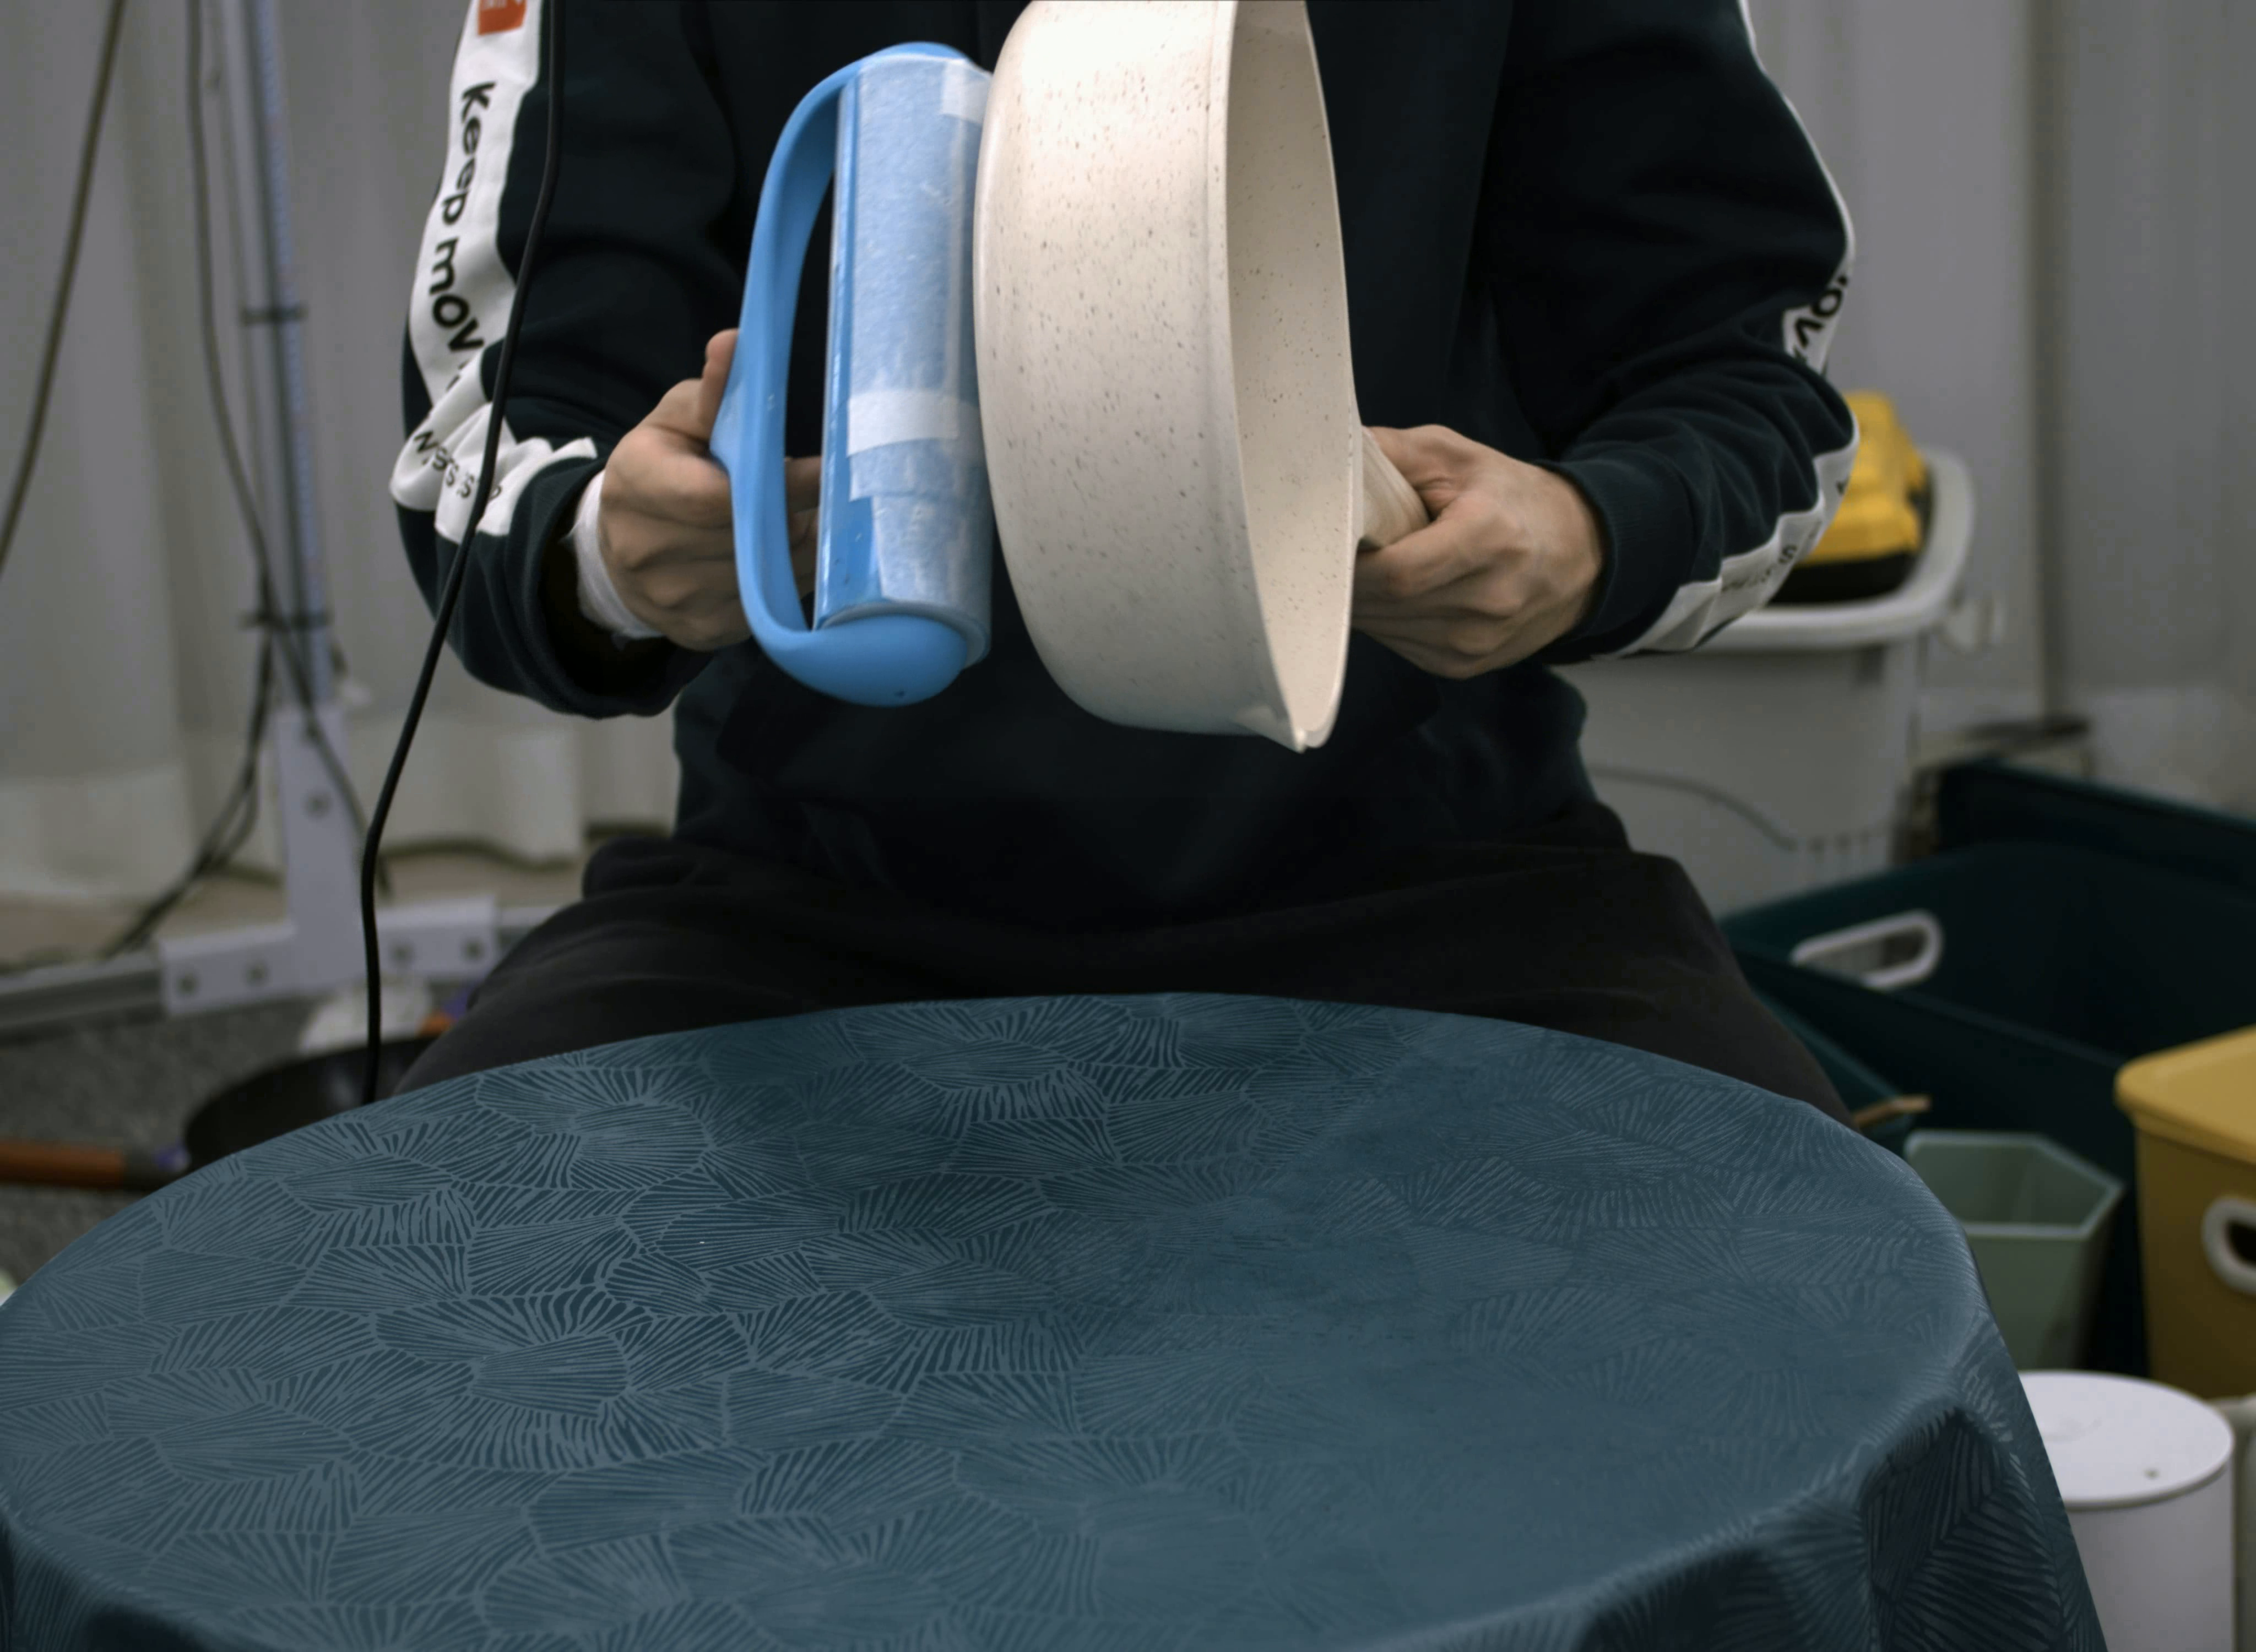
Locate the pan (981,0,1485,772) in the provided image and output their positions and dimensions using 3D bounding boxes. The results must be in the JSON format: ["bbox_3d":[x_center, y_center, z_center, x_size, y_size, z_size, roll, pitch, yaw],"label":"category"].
[{"bbox_3d":[0.038,-0.121,1.772,0.102,0.266,0.431,-6,-15,10],"label":"pan"}]

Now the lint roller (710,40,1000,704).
[{"bbox_3d":[-0.099,-0.119,1.737,0.067,0.232,0.179,15,-32,-29],"label":"lint roller"}]
